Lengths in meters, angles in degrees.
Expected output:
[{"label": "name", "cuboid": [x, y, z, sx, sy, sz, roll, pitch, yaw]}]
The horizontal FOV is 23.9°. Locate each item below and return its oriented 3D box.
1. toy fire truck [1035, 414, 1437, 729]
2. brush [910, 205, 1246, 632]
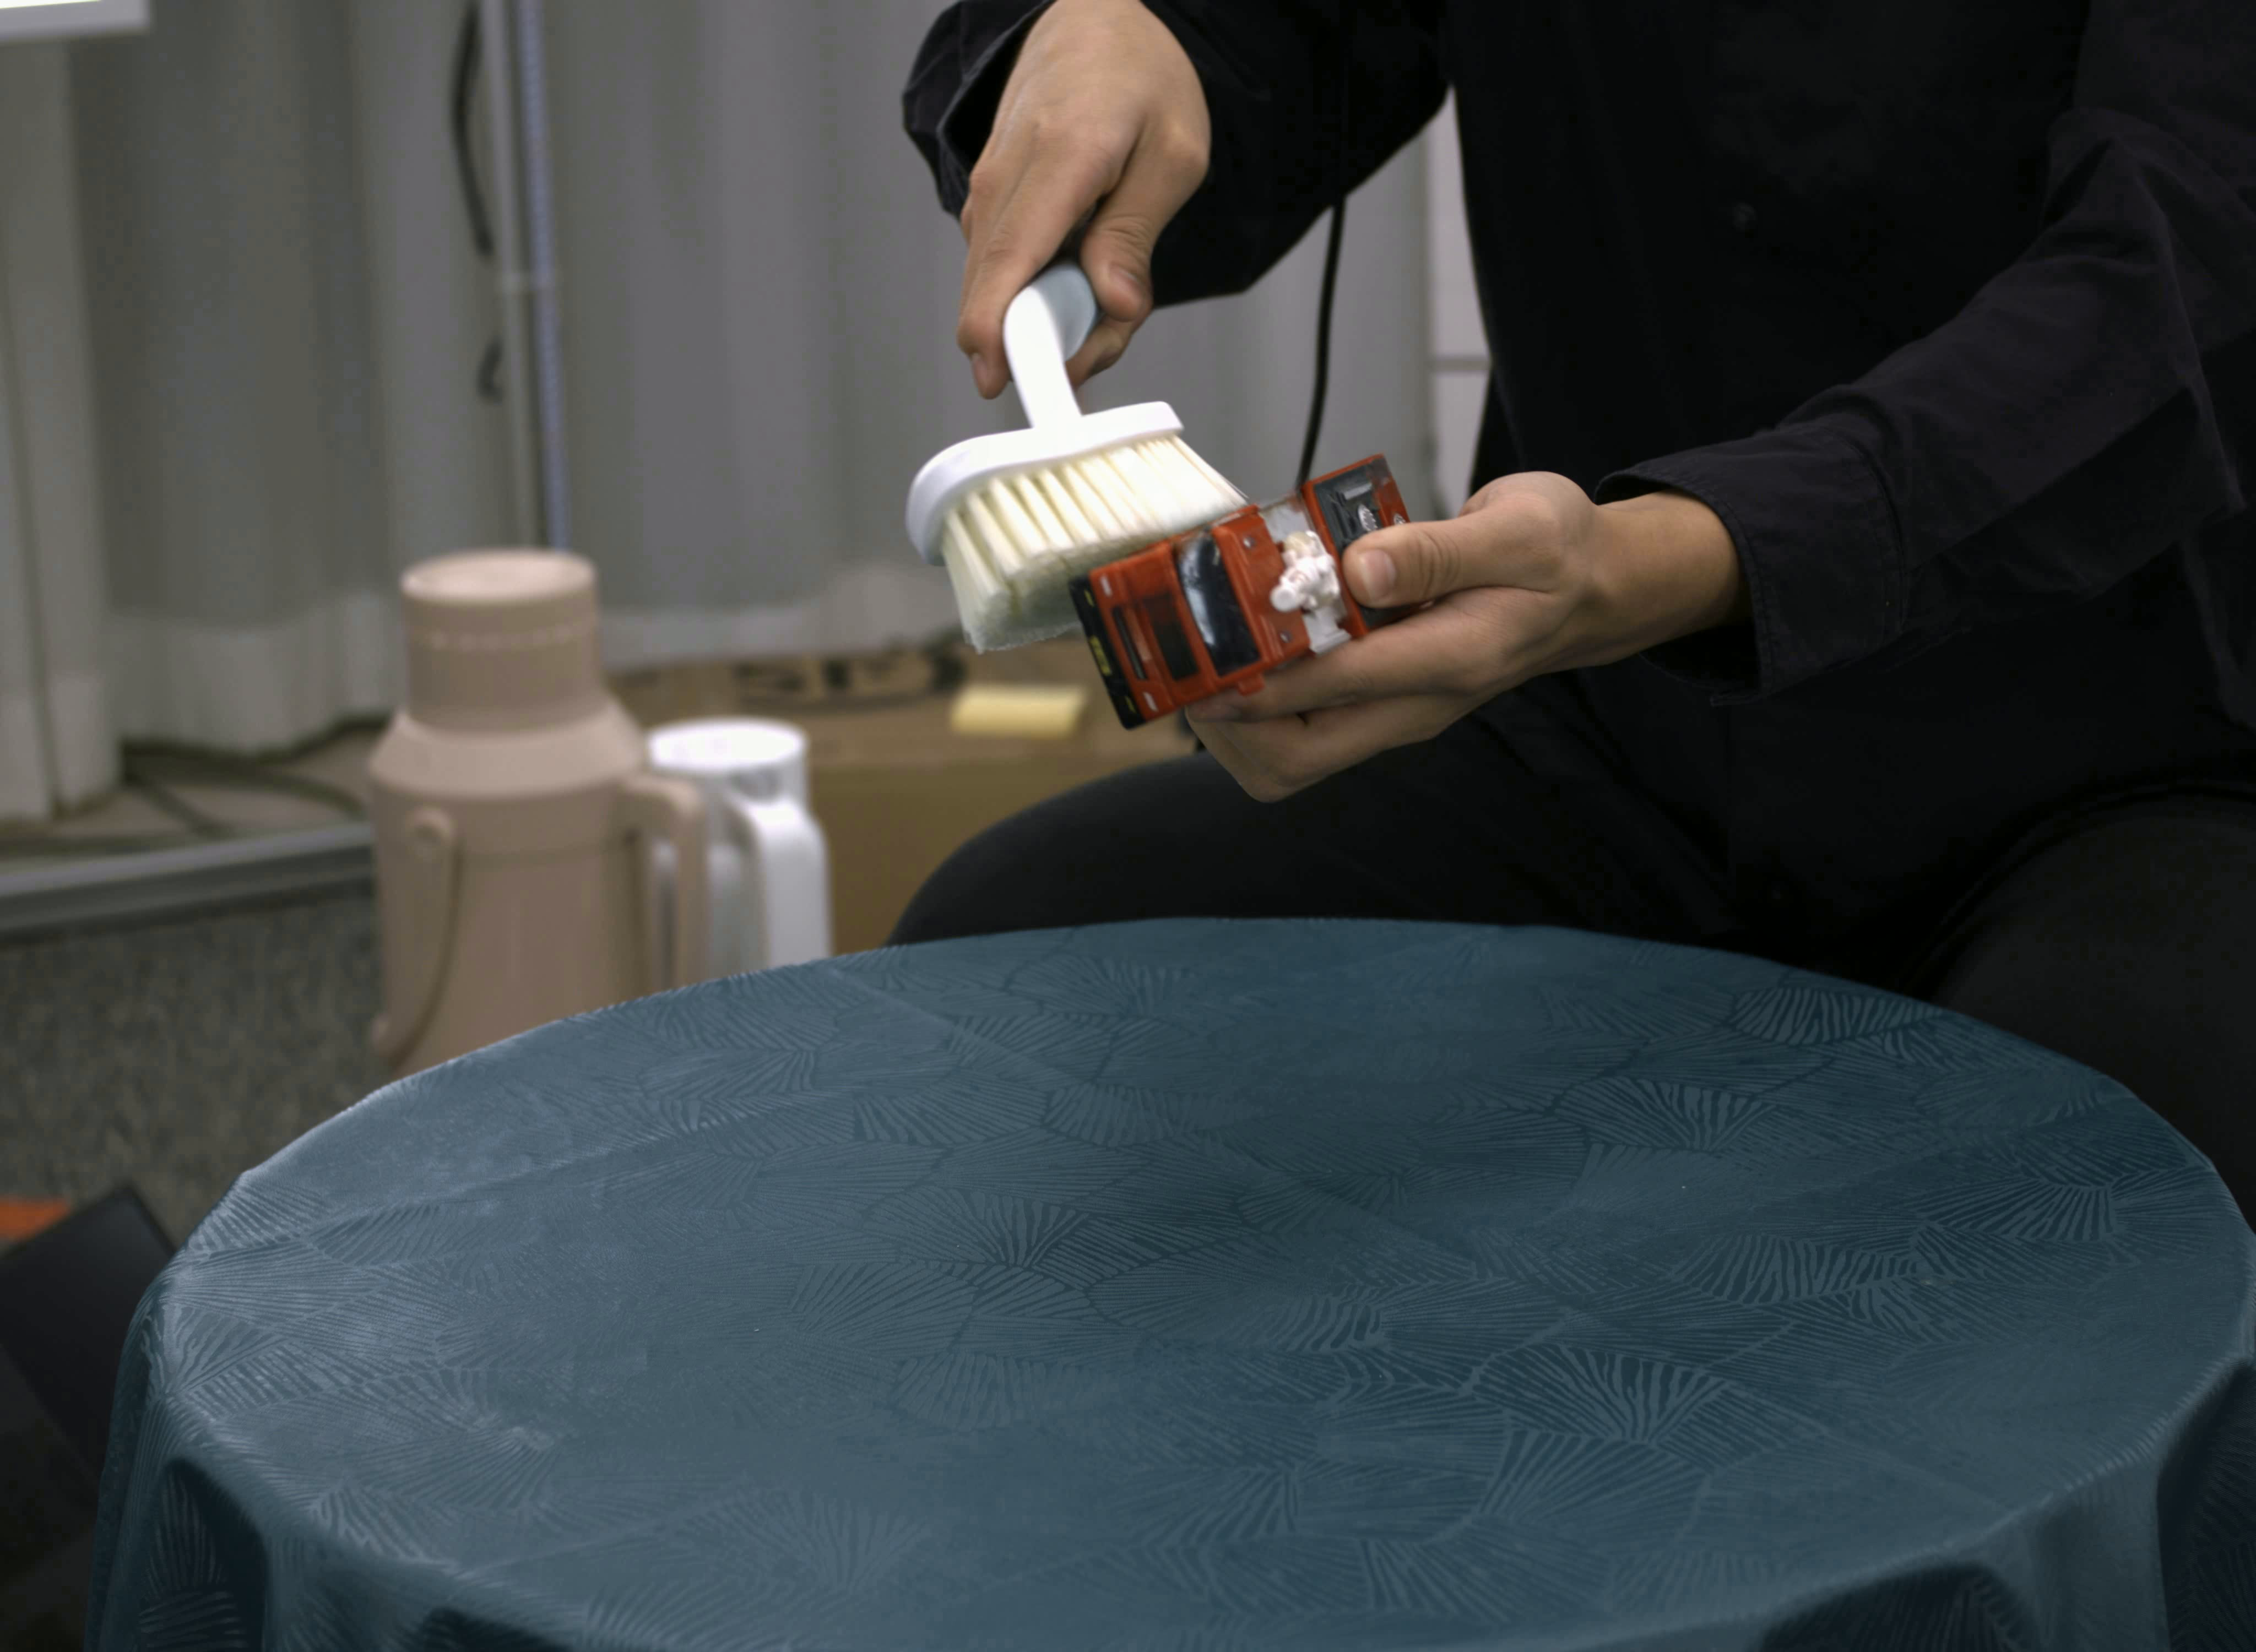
[{"label": "toy fire truck", "cuboid": [0.033, -0.071, 1.449, 0.071, 0.054, 0.166, -21, 3, 21]}, {"label": "brush", "cuboid": [0.000, -0.116, 1.559, 0.083, 0.084, 0.324, 0, 16, 9]}]
